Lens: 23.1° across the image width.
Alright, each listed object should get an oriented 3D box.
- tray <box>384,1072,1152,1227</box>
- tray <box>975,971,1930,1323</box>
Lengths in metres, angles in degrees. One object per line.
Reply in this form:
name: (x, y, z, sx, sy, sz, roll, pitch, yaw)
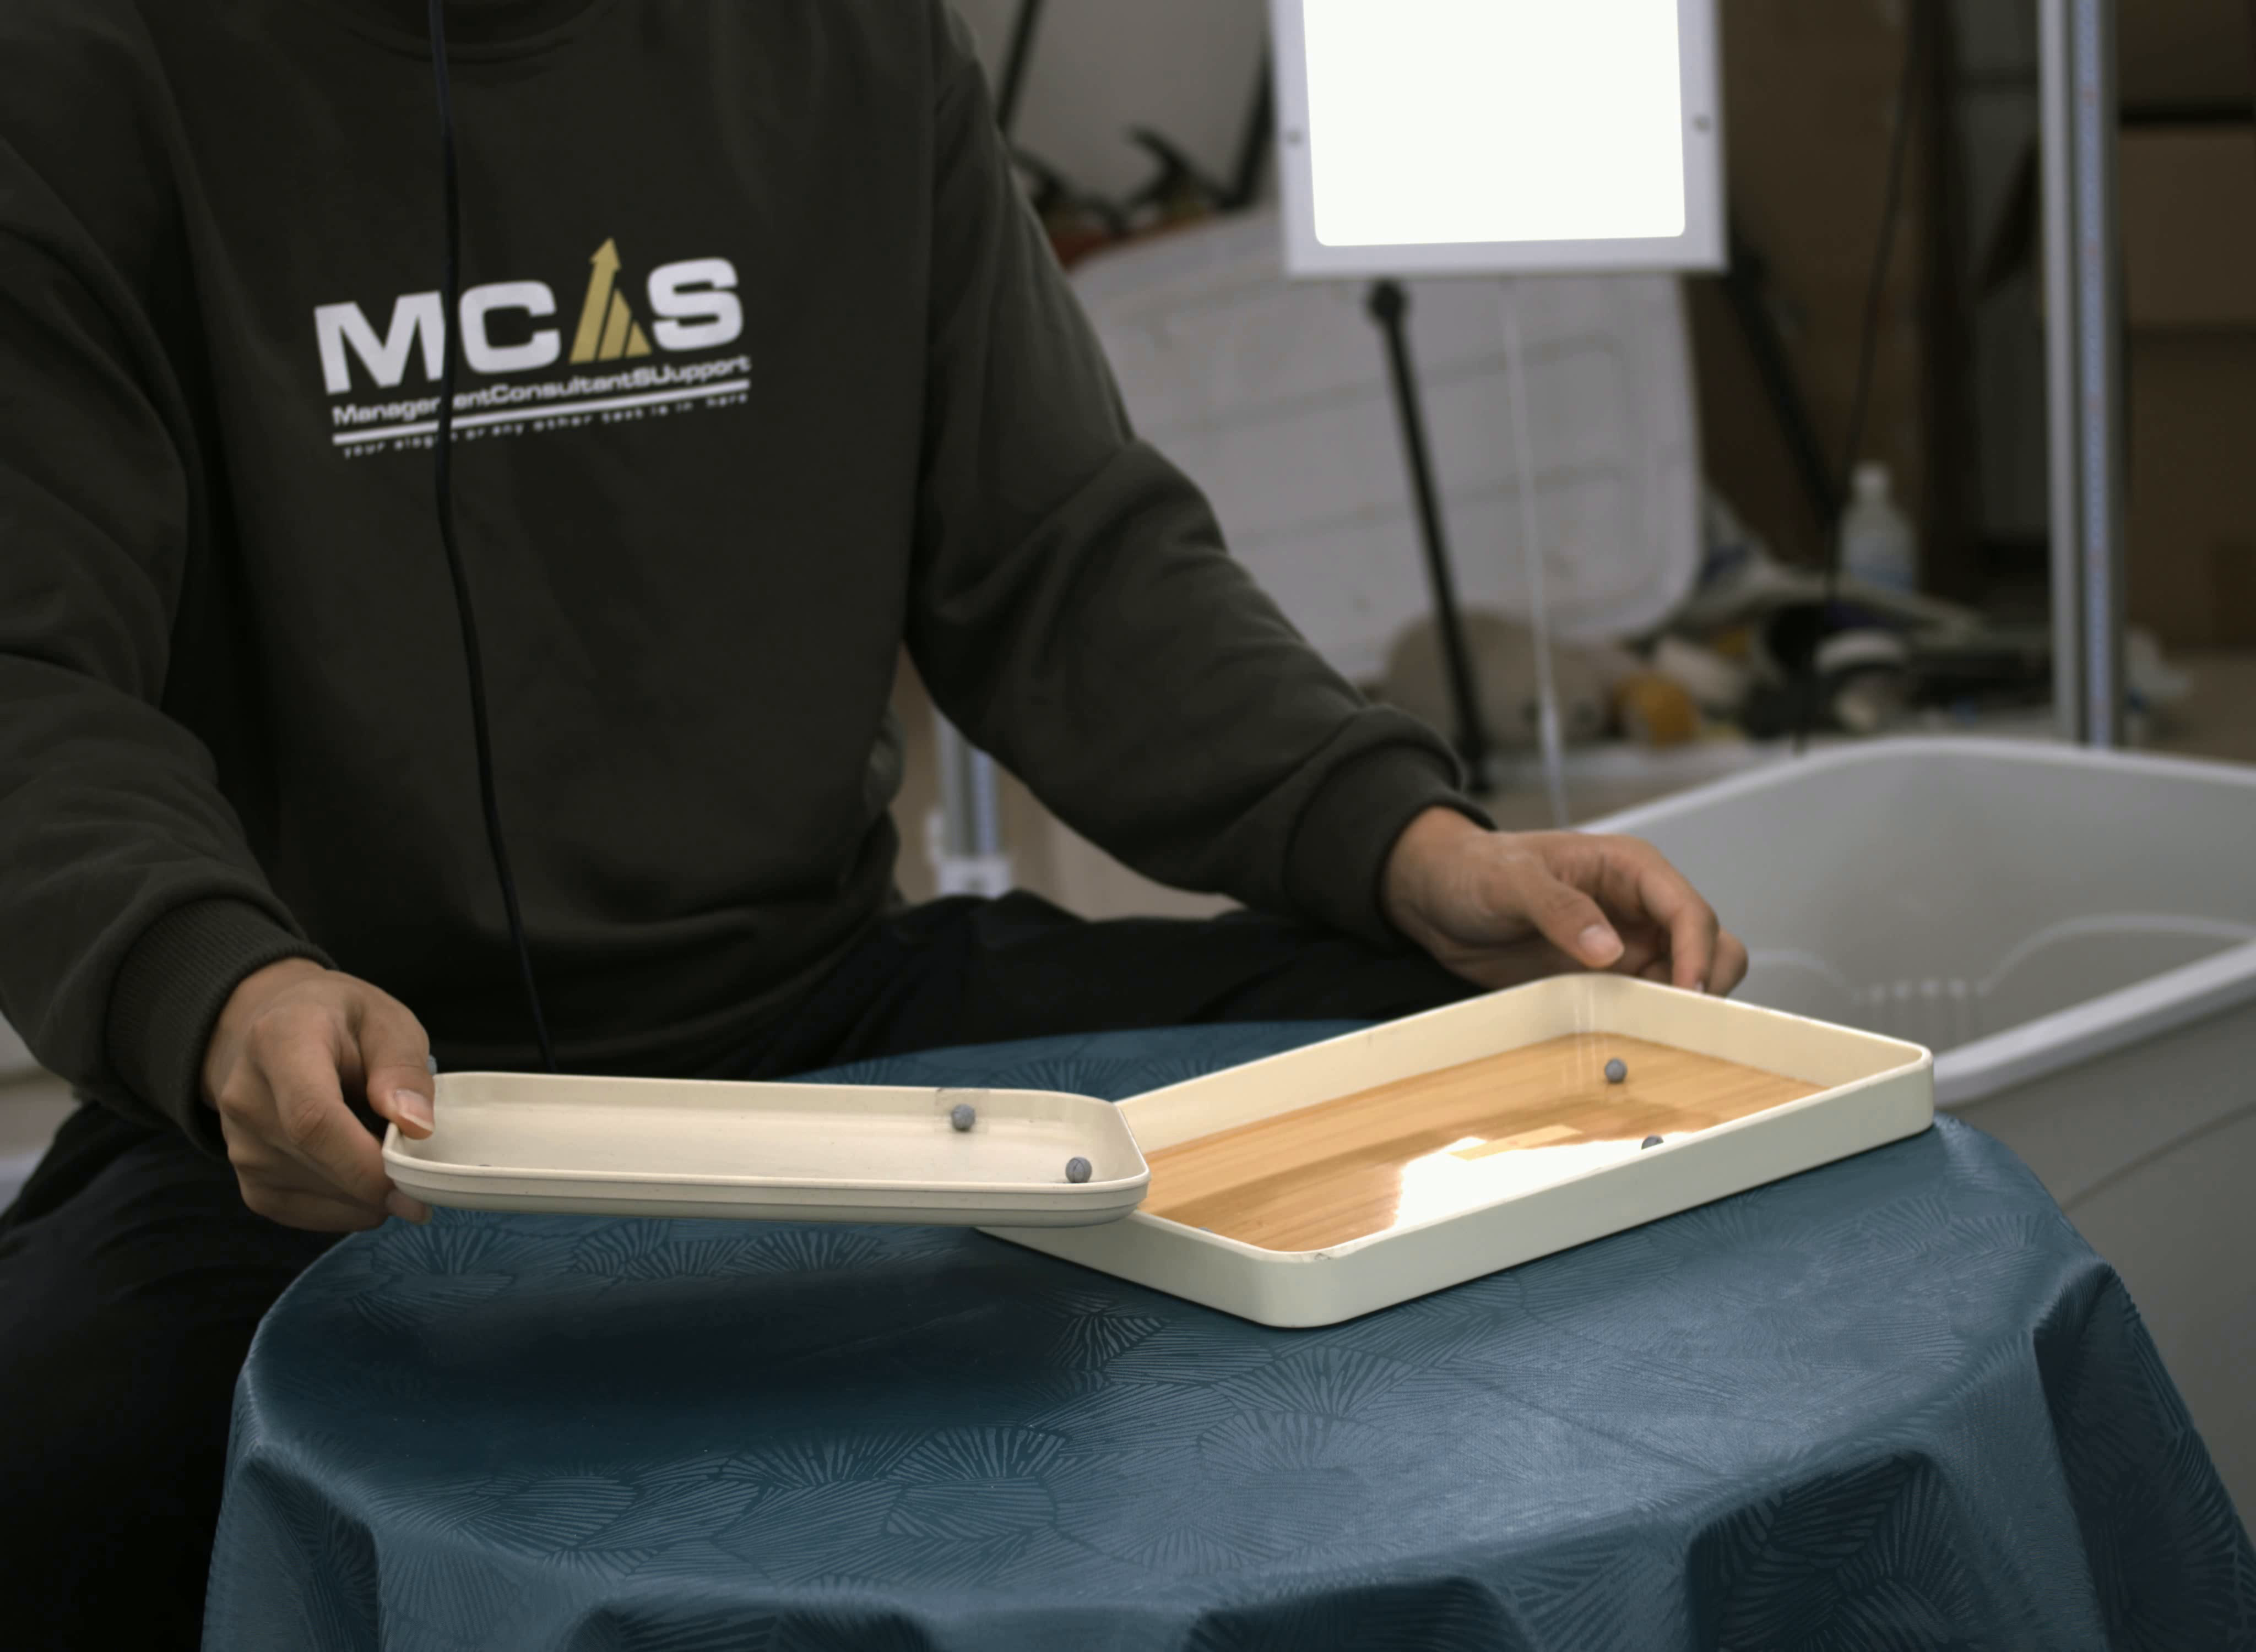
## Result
tray: (-0.116, 0.103, 1.762, 0.238, 0.017, 0.171, 2, 8, -3)
tray: (0.112, 0.106, 1.887, 0.293, 0.027, 0.195, -14, 16, -34)
